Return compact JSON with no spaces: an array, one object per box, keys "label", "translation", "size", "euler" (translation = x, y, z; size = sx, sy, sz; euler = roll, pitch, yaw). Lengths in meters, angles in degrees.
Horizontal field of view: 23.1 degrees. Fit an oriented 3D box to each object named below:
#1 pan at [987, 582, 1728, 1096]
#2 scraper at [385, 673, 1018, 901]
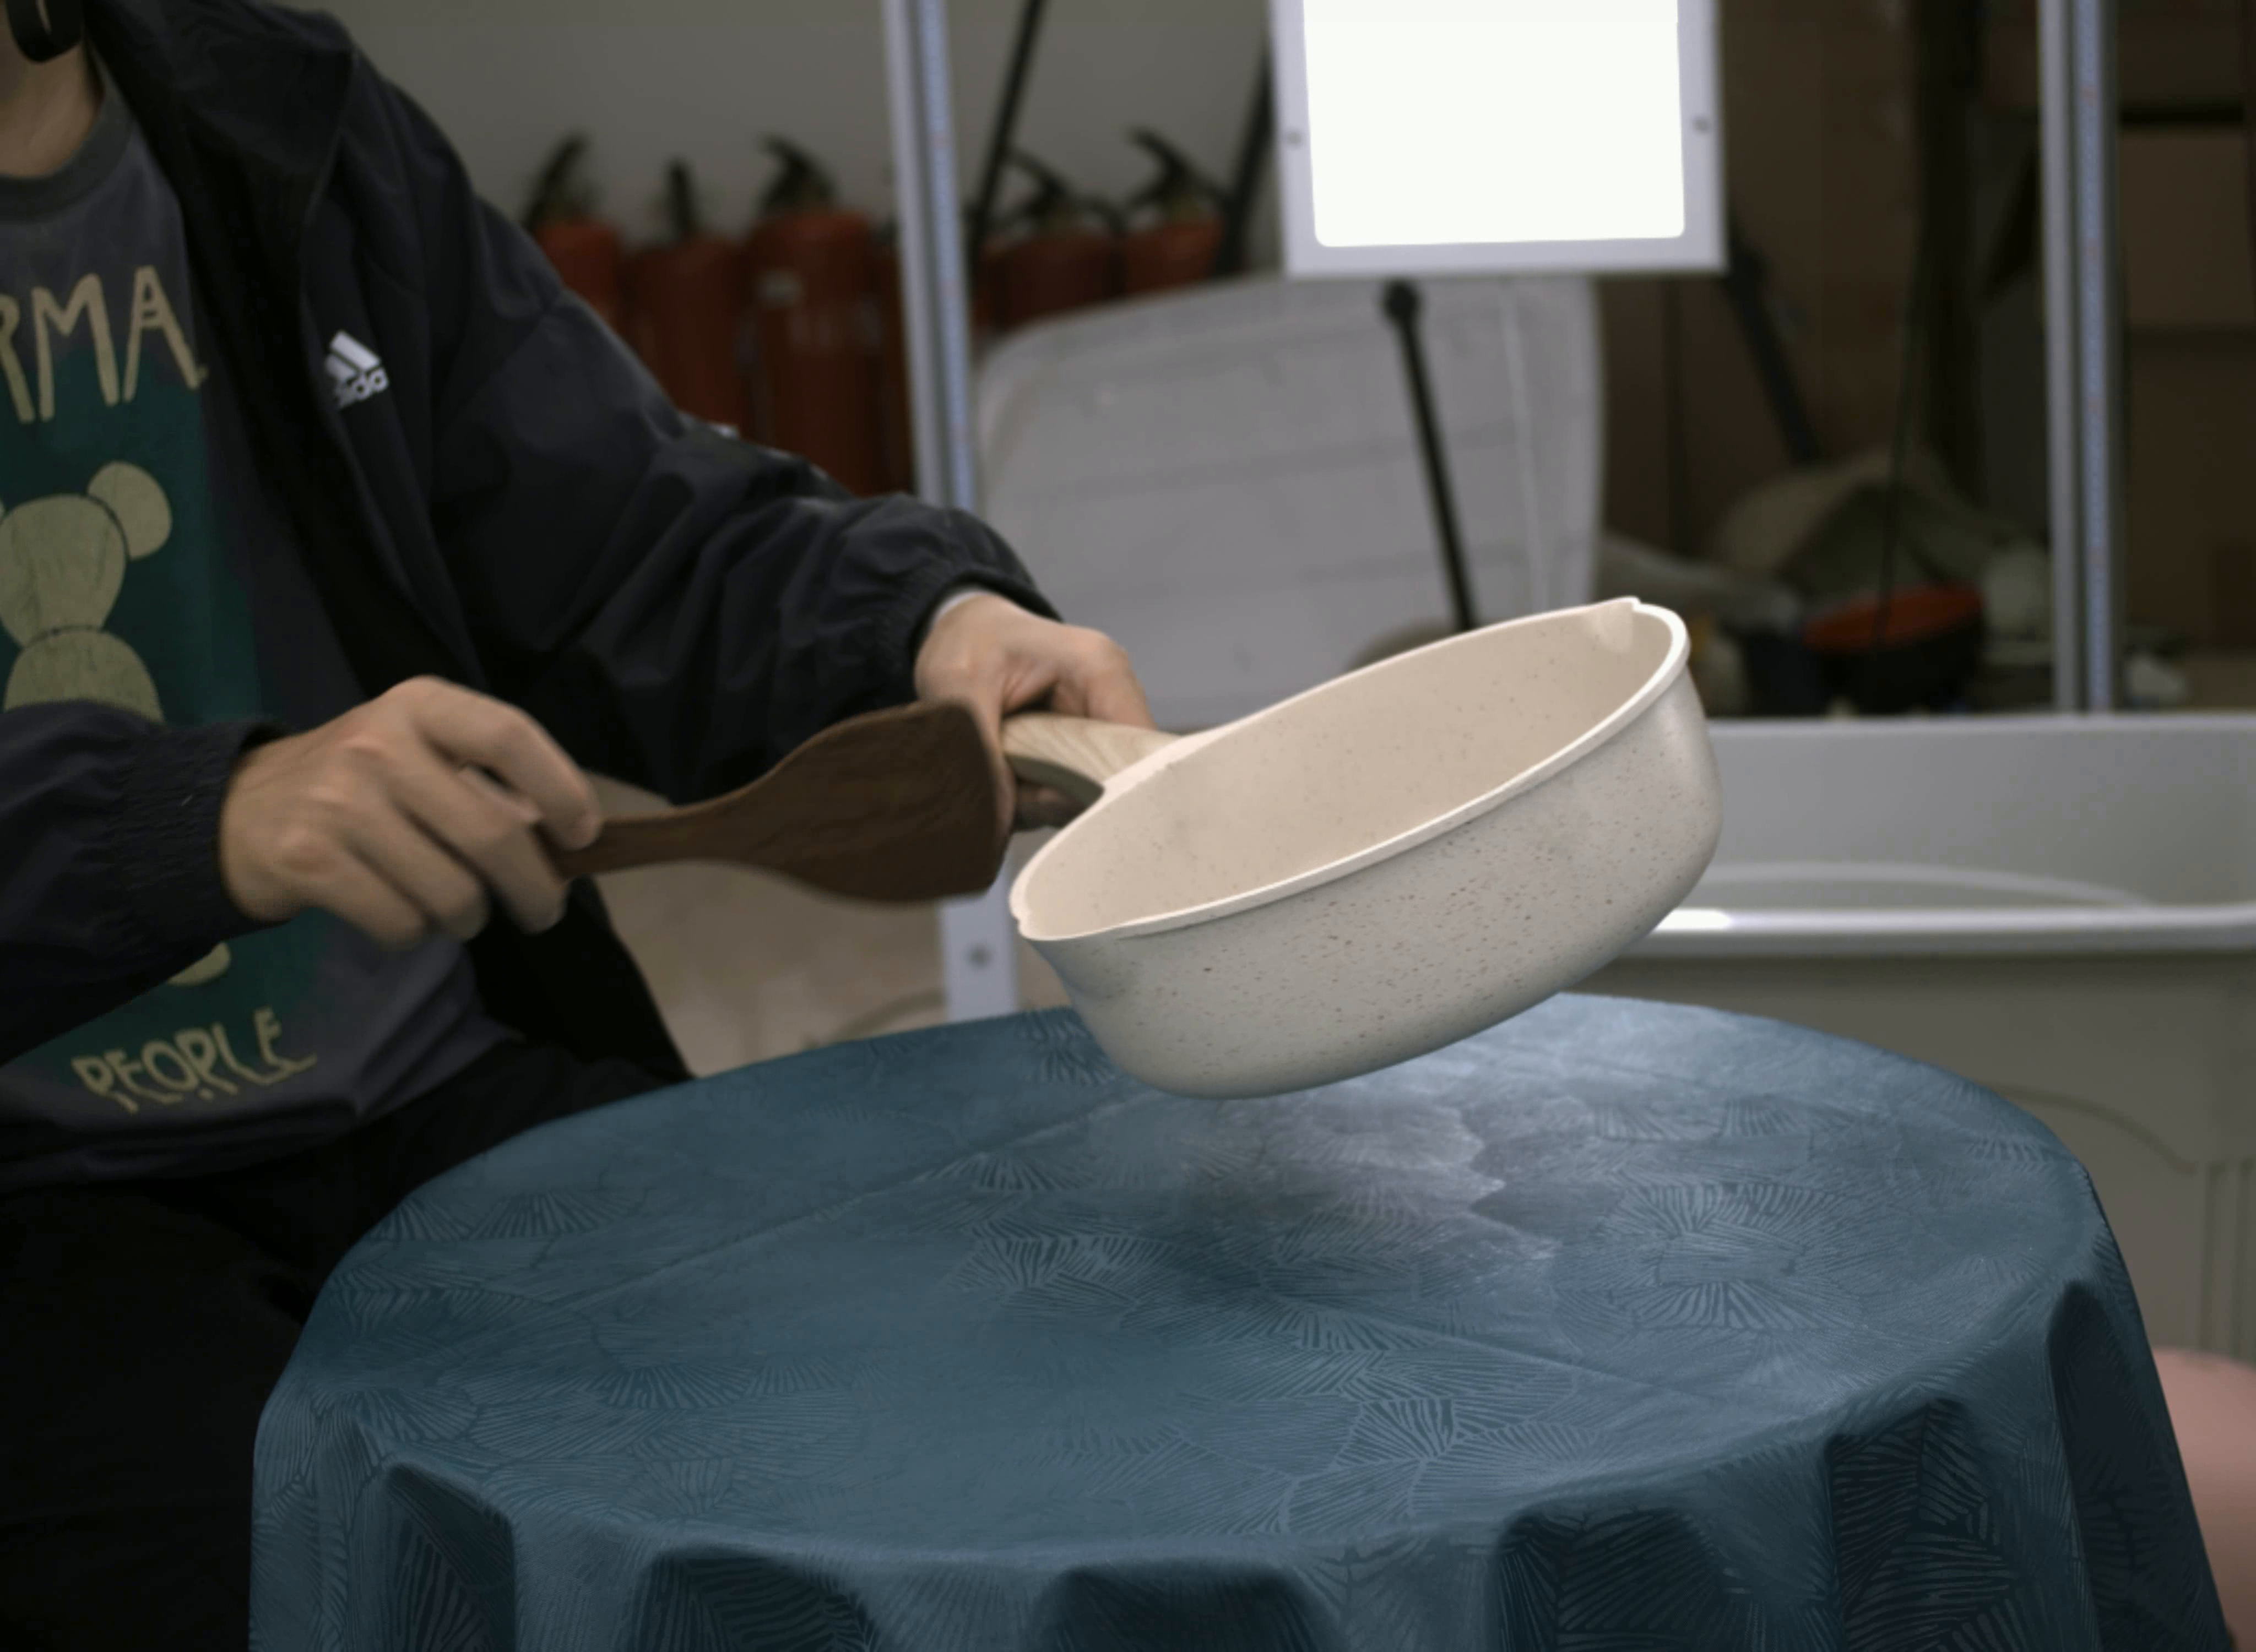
[{"label":"pan","translation":[0.044,0.004,1.966],"size":[0.258,0.102,0.443],"euler":[-32,14,-24]},{"label":"scraper","translation":[-0.142,-0.002,1.820],"size":[0.212,0.076,0.011],"euler":[-9,29,7]}]
